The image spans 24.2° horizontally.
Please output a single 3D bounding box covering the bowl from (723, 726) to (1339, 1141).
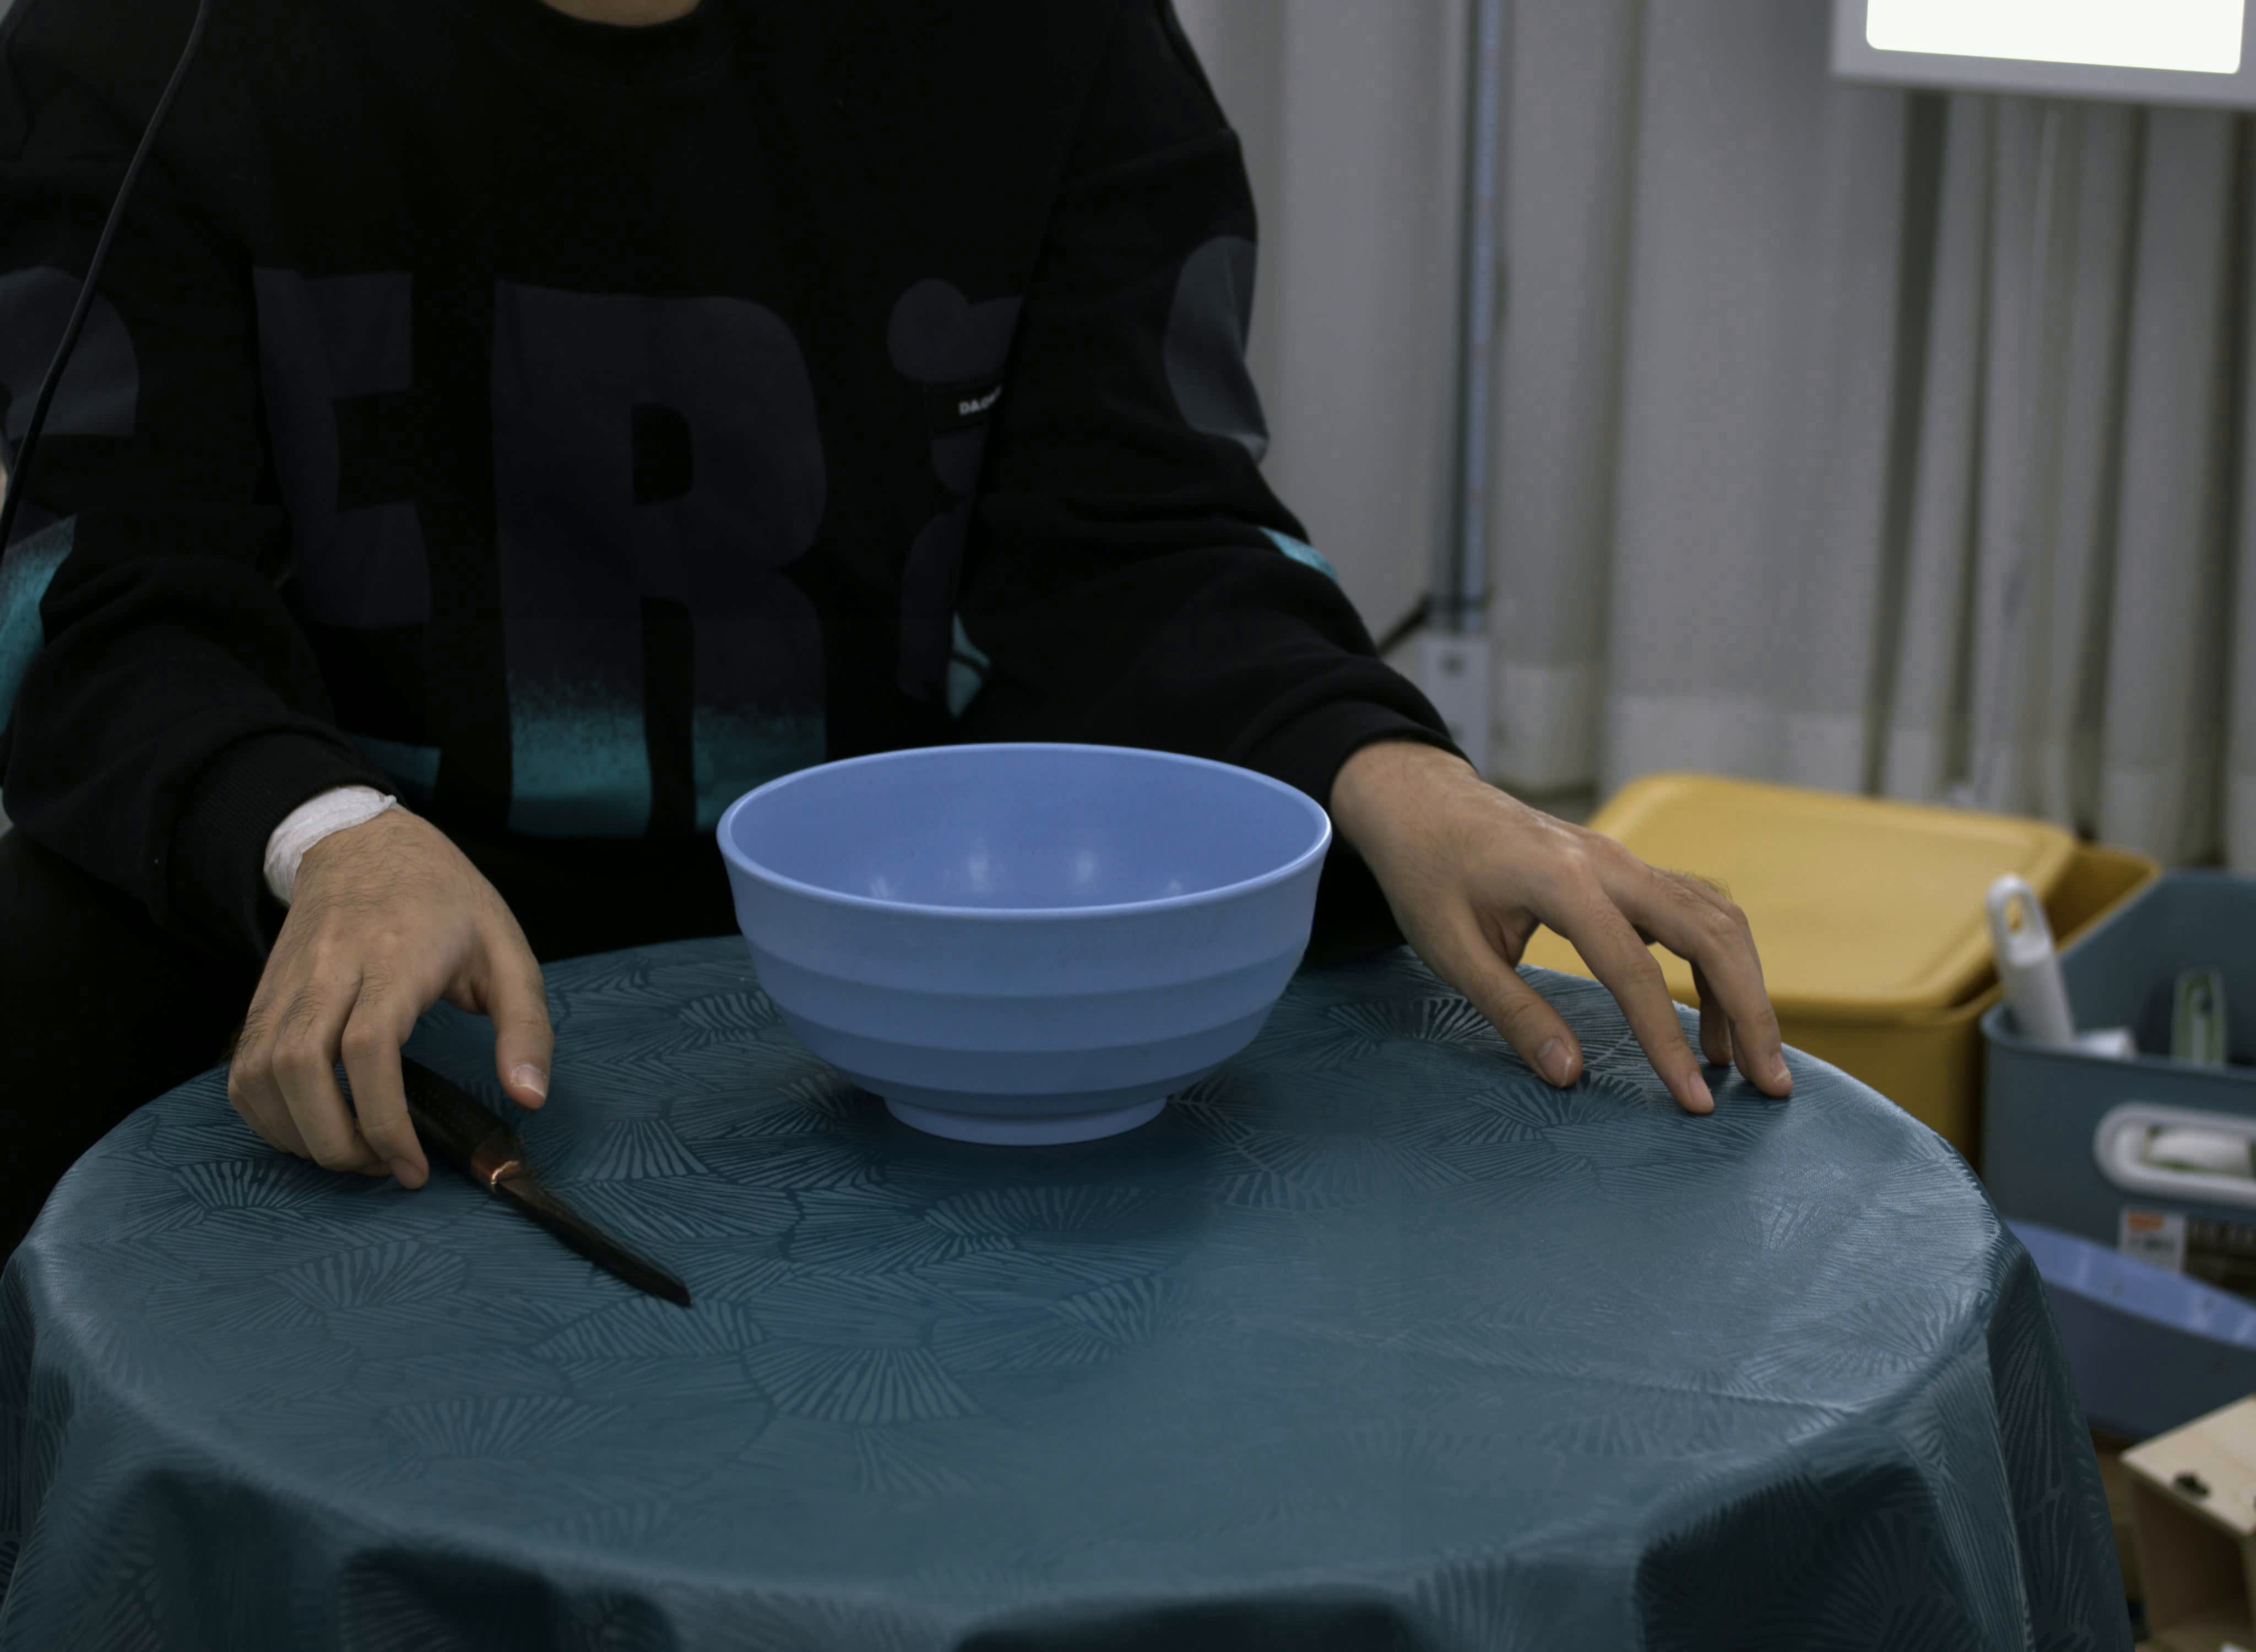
[{"bbox_3d":[-0.032,0.041,1.690,0.196,0.096,0.195,2,19,0],"label":"bowl"}]

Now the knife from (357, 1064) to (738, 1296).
[{"bbox_3d":[-0.181,0.109,1.610,0.026,0.017,0.222,-7,18,-33],"label":"knife"}]
